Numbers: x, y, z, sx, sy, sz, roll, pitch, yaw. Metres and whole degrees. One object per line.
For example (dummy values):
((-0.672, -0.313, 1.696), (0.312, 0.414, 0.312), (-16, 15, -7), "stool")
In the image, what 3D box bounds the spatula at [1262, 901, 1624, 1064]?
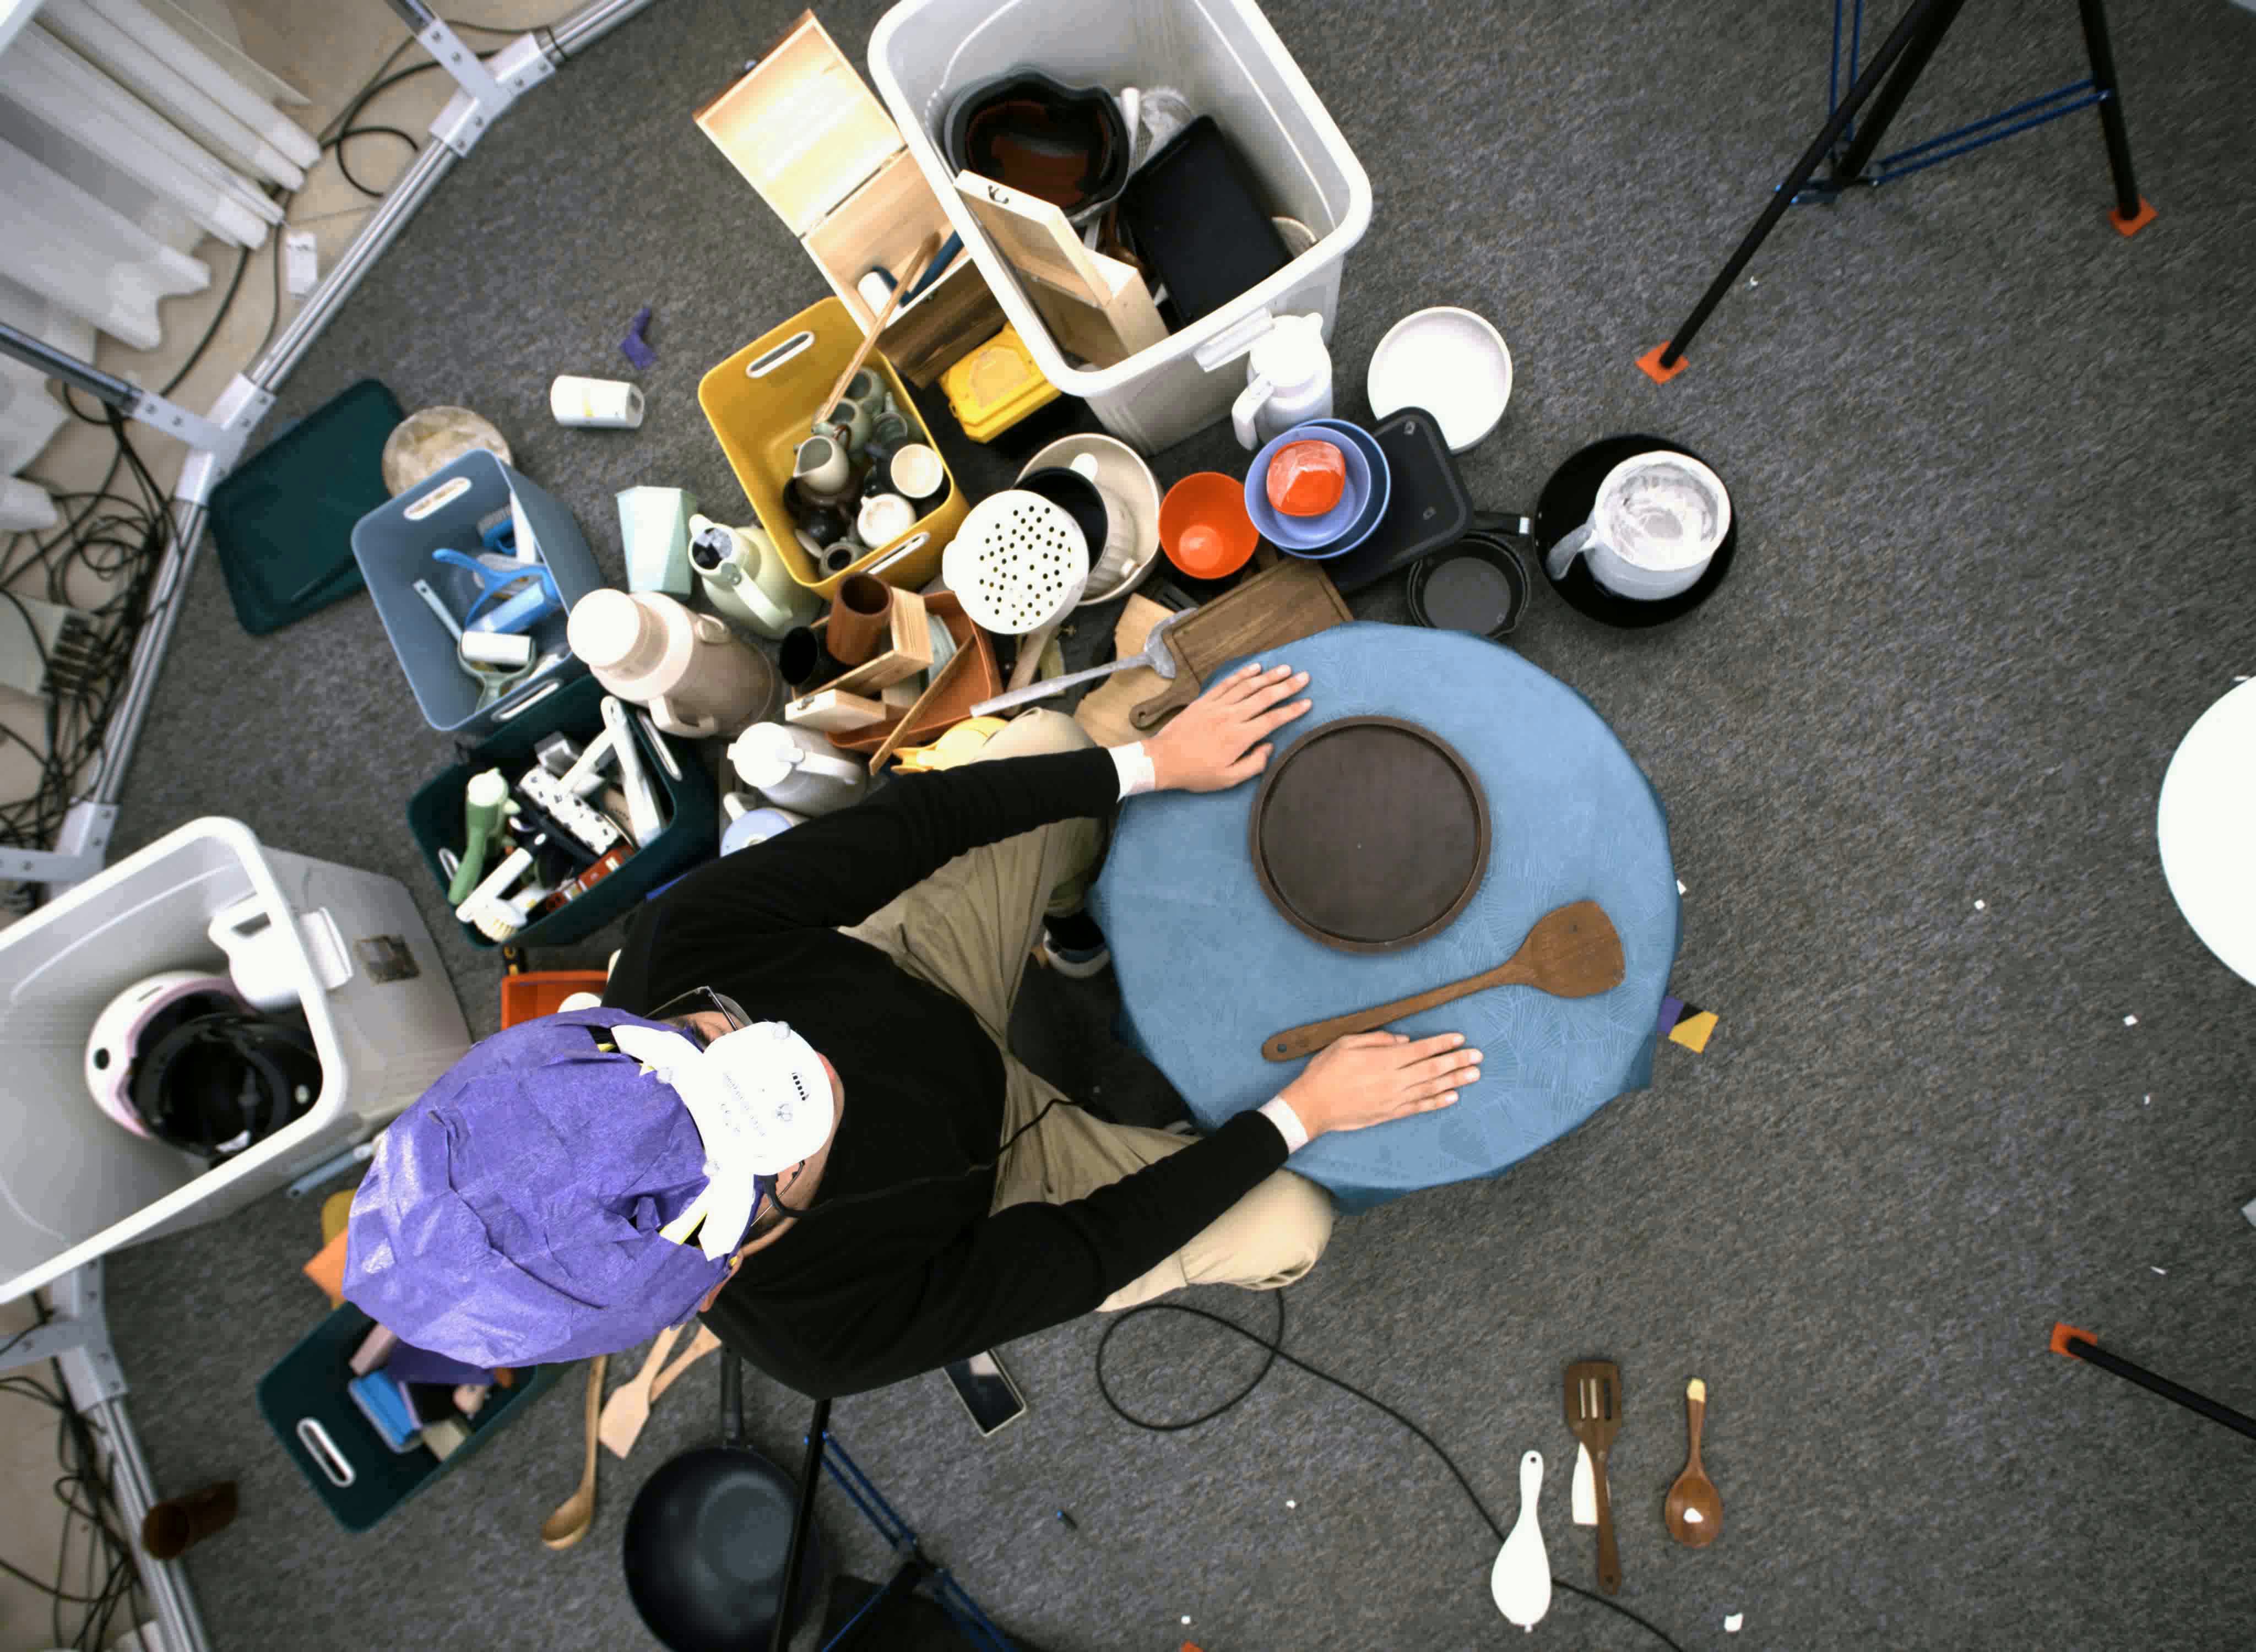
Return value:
((0.322, 0.177, 1.437), (0.388, 0.016, 0.095), (-20, 83, 9), "spatula")

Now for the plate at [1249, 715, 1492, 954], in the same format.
((0.254, 0.007, 1.454), (0.256, 0.029, 0.254), (-1, 88, 10), "plate")
